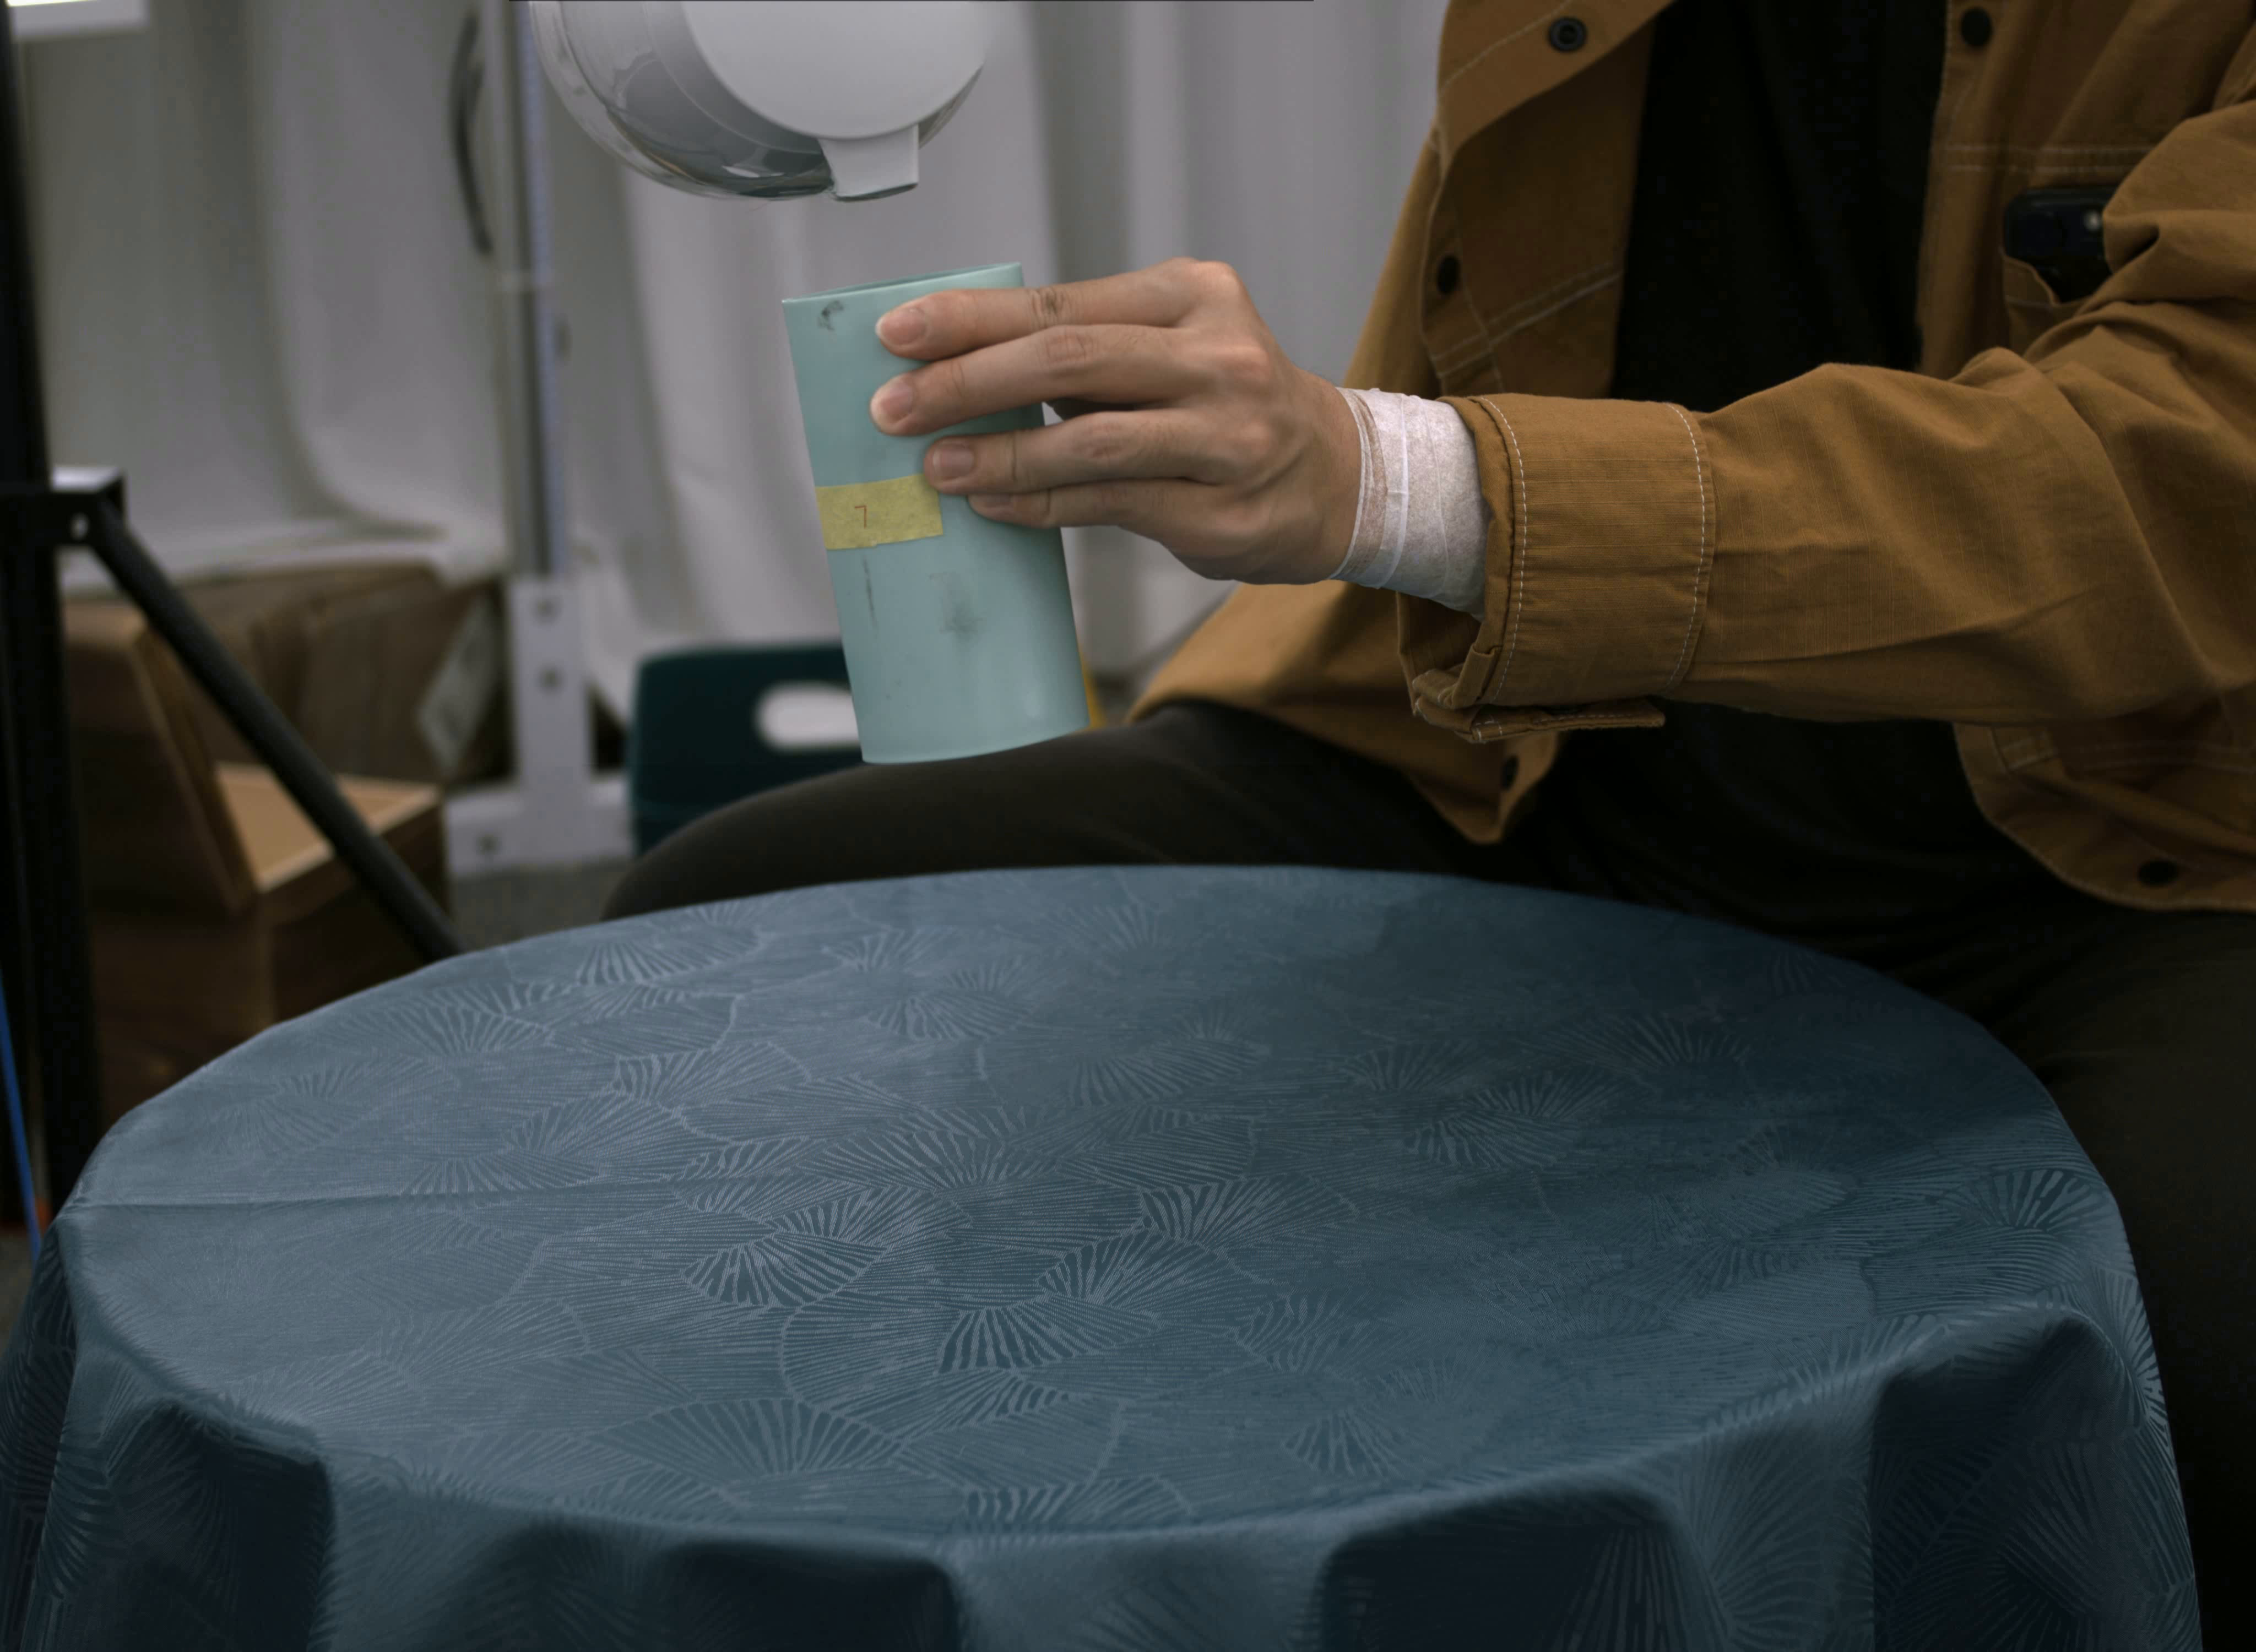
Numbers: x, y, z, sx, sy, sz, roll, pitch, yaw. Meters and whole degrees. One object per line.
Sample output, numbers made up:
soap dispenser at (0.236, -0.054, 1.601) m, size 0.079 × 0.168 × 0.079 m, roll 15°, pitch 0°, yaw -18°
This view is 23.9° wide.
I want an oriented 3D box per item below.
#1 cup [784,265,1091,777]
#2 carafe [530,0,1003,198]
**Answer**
cup at (-0.051, -0.085, 1.473) m, size 0.066 × 0.132 × 0.067 m, roll -9°, pitch 7°, yaw 0°
carafe at (-0.104, -0.266, 1.557) m, size 0.131 × 0.168 × 0.251 m, roll -15°, pitch 9°, yaw -8°
